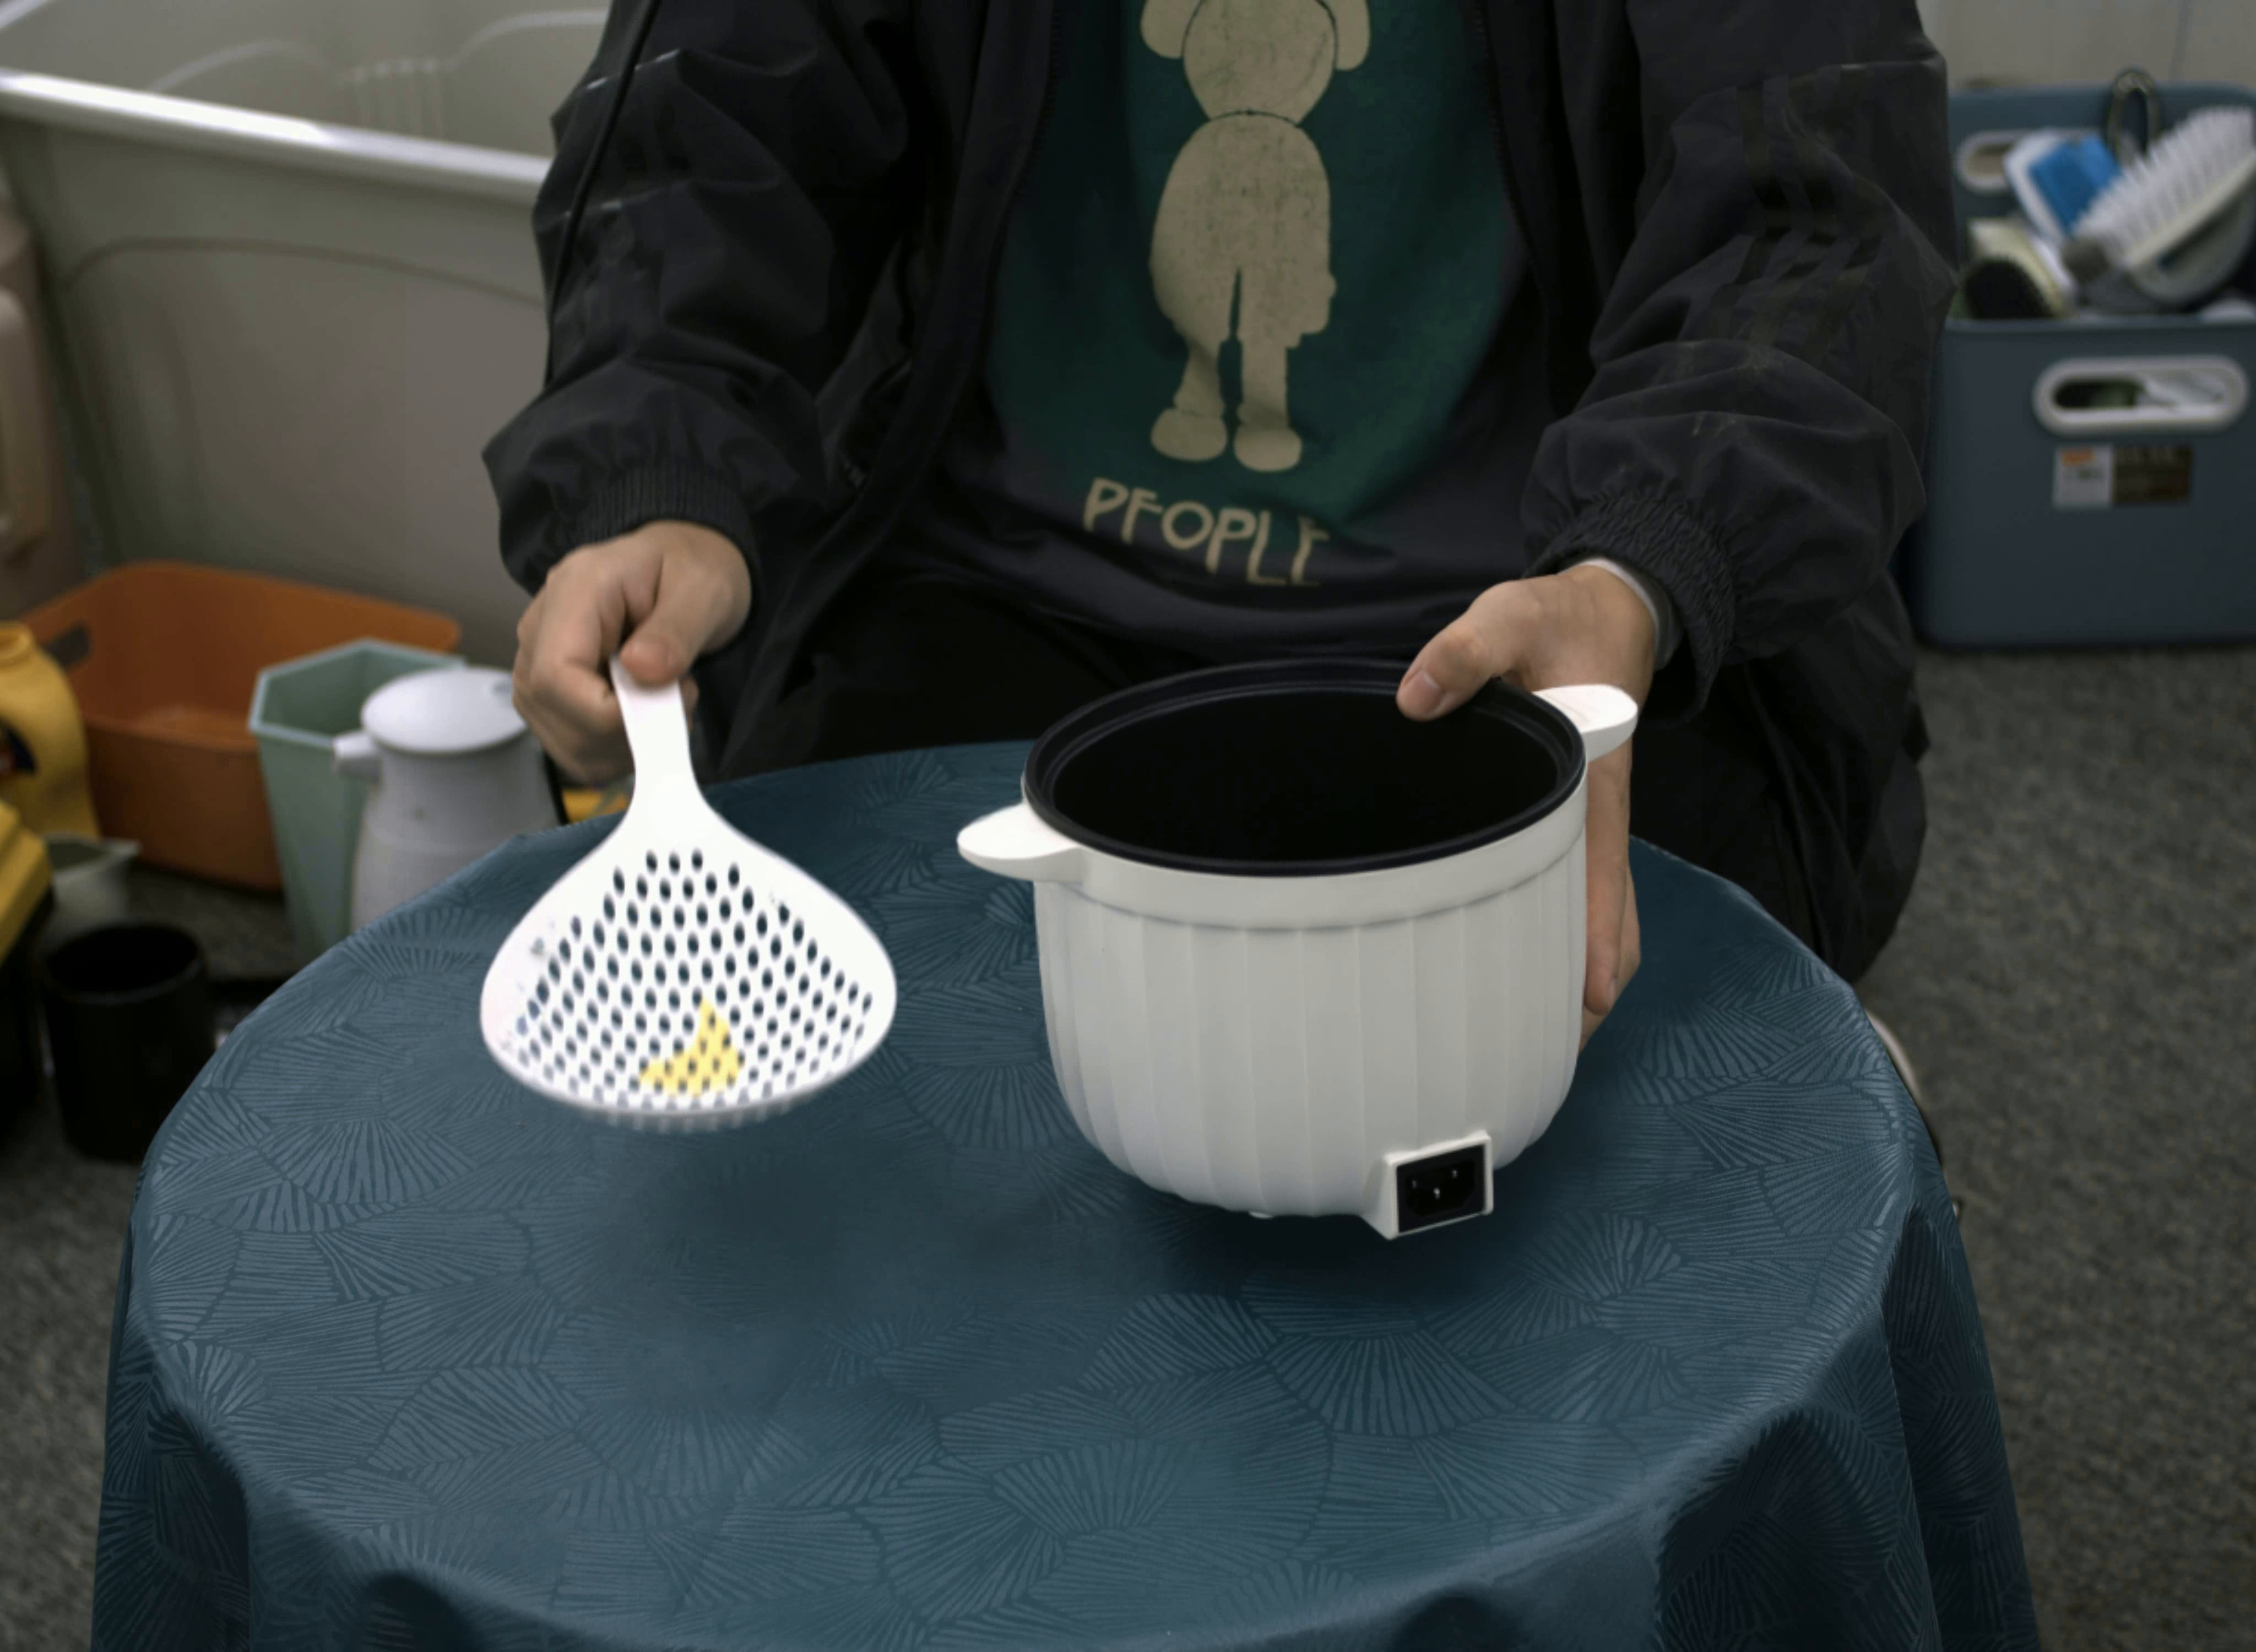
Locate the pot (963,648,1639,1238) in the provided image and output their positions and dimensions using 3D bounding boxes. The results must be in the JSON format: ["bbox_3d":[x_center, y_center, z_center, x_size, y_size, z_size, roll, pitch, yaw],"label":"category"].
[{"bbox_3d":[0.056,0.036,1.824,0.241,0.141,0.191,-11,26,-24],"label":"pot"}]

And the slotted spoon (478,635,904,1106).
[{"bbox_3d":[-0.156,0.003,1.900,0.136,0.049,0.353,-6,32,-7],"label":"slotted spoon"}]
